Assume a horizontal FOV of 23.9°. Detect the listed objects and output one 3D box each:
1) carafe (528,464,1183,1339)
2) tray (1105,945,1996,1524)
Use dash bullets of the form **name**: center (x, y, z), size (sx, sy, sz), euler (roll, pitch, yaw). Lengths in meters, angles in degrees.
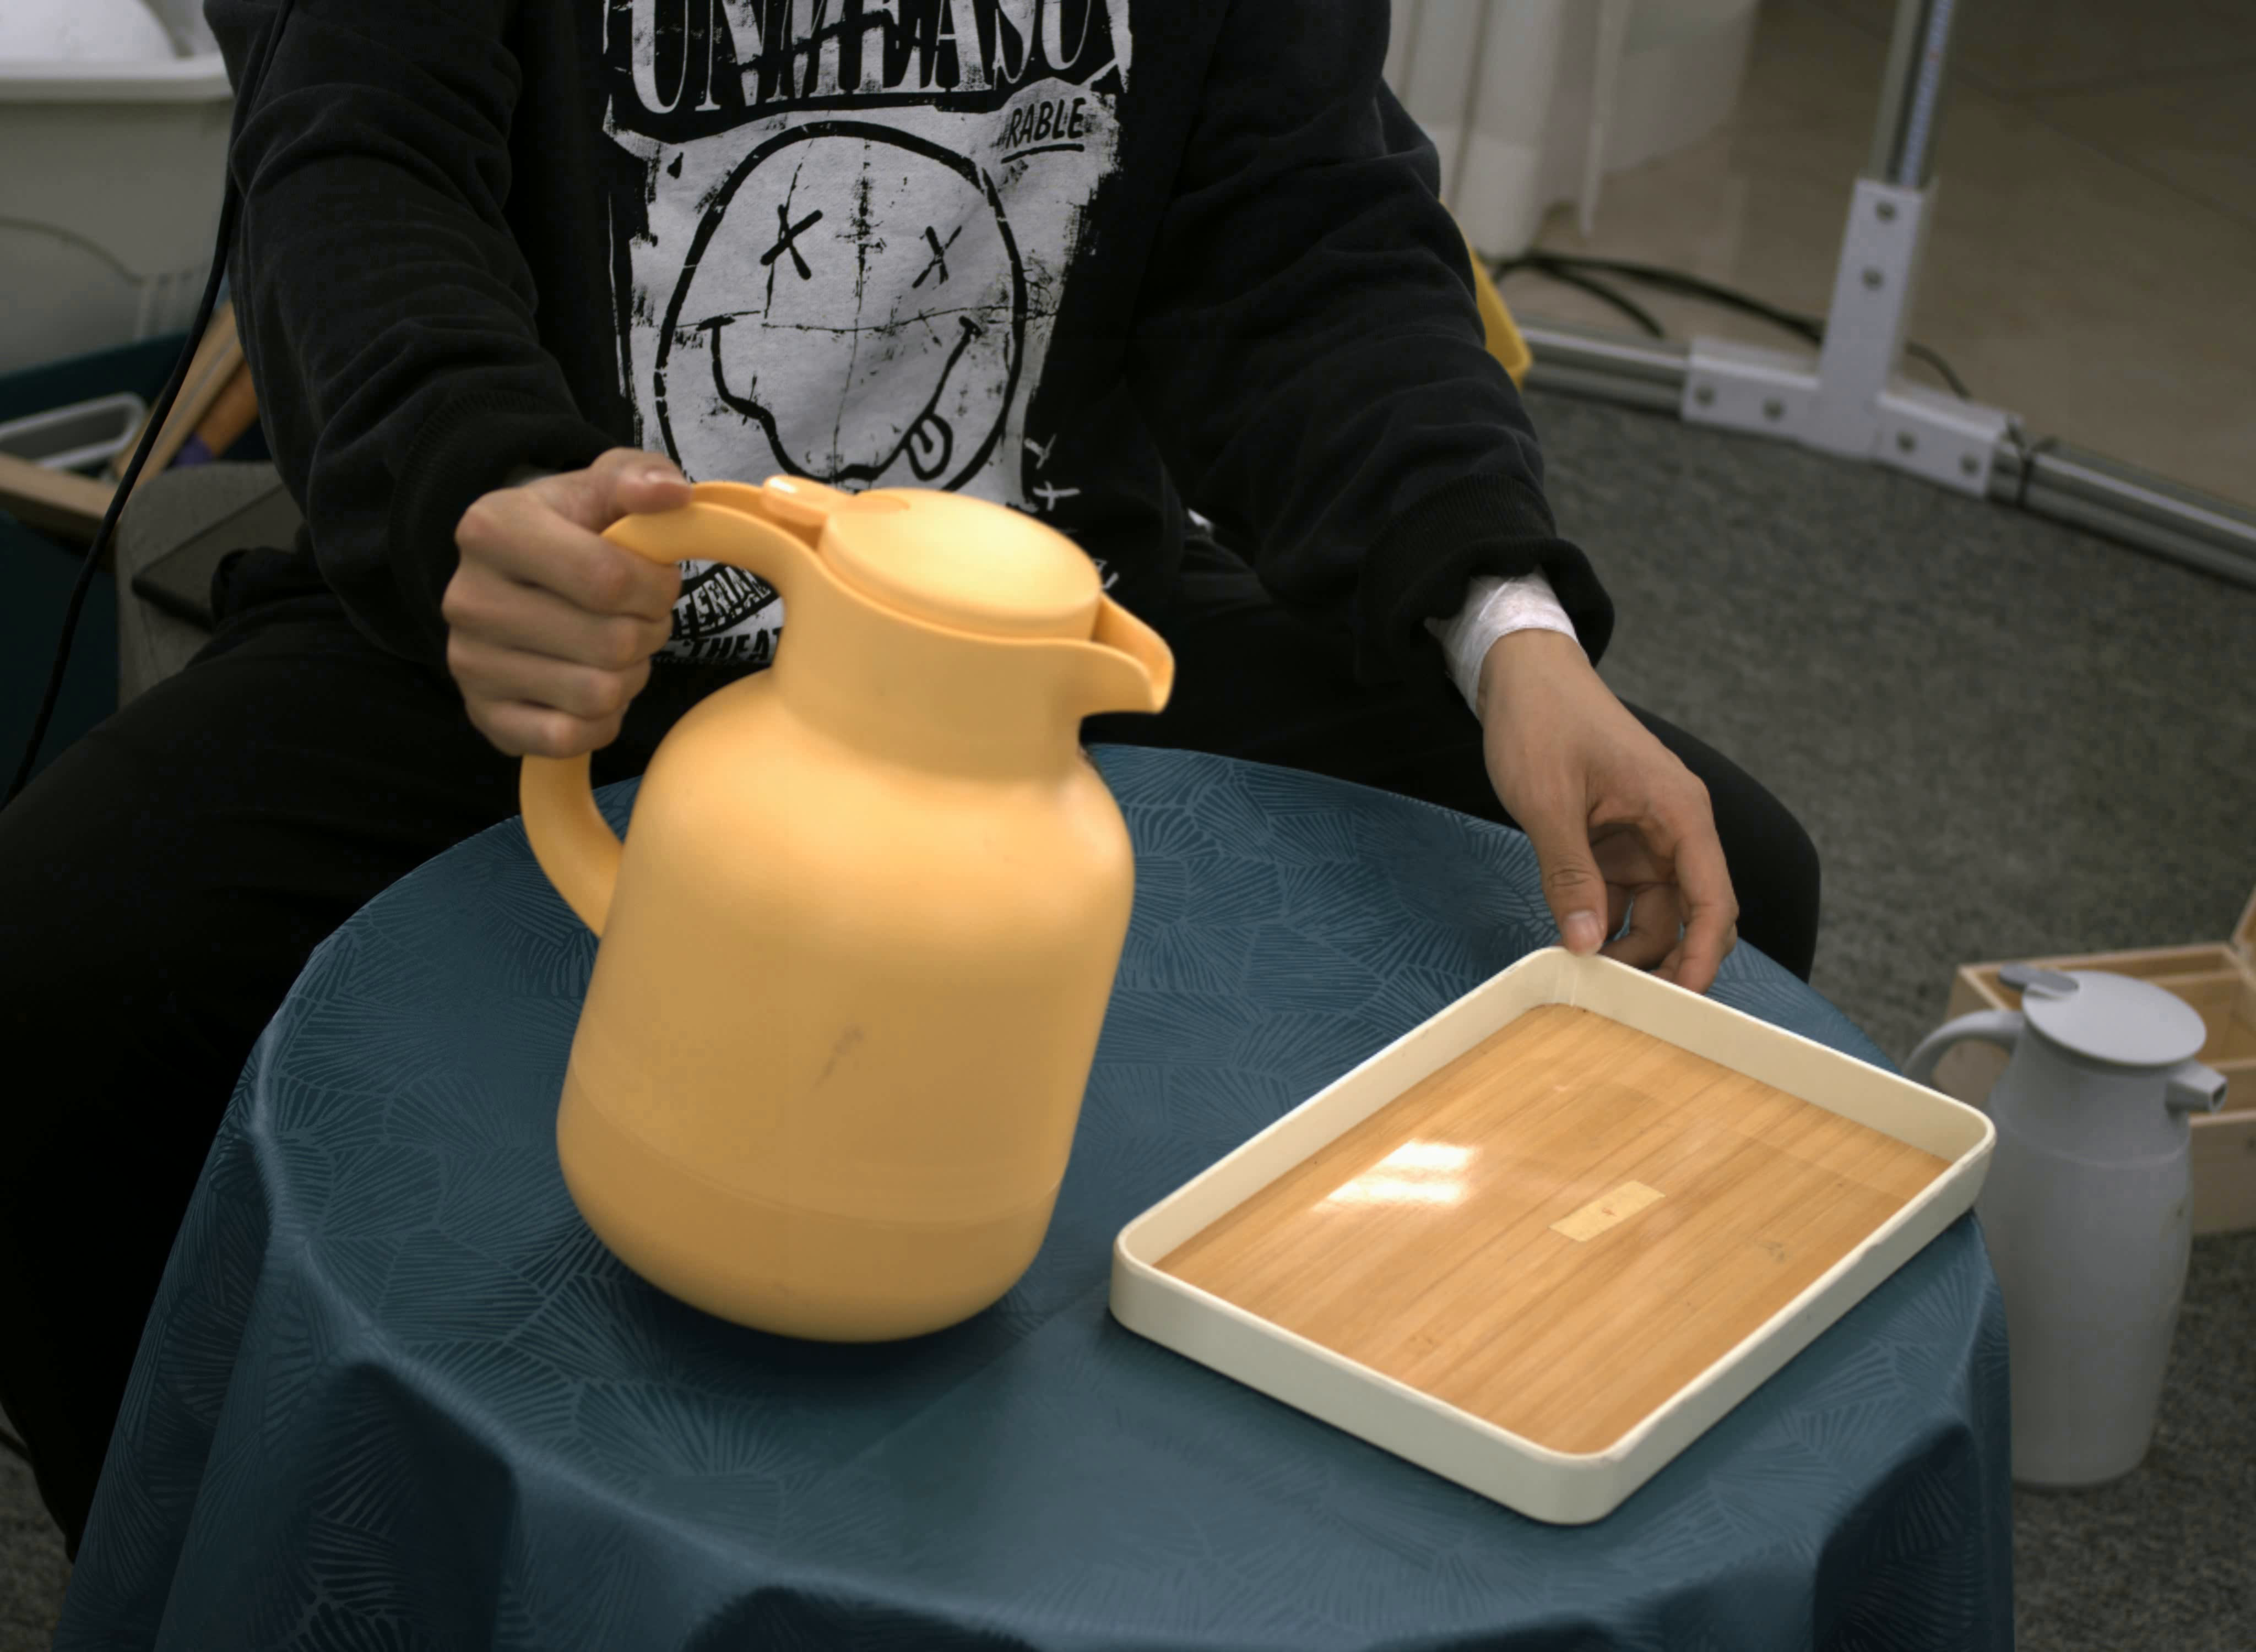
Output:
- **carafe**: center (-0.097, 0.014, 1.684), size (0.203, 0.260, 0.163), euler (23, 21, 13)
- **tray**: center (0.147, 0.131, 1.794), size (0.192, 0.027, 0.299), euler (23, 31, 28)
